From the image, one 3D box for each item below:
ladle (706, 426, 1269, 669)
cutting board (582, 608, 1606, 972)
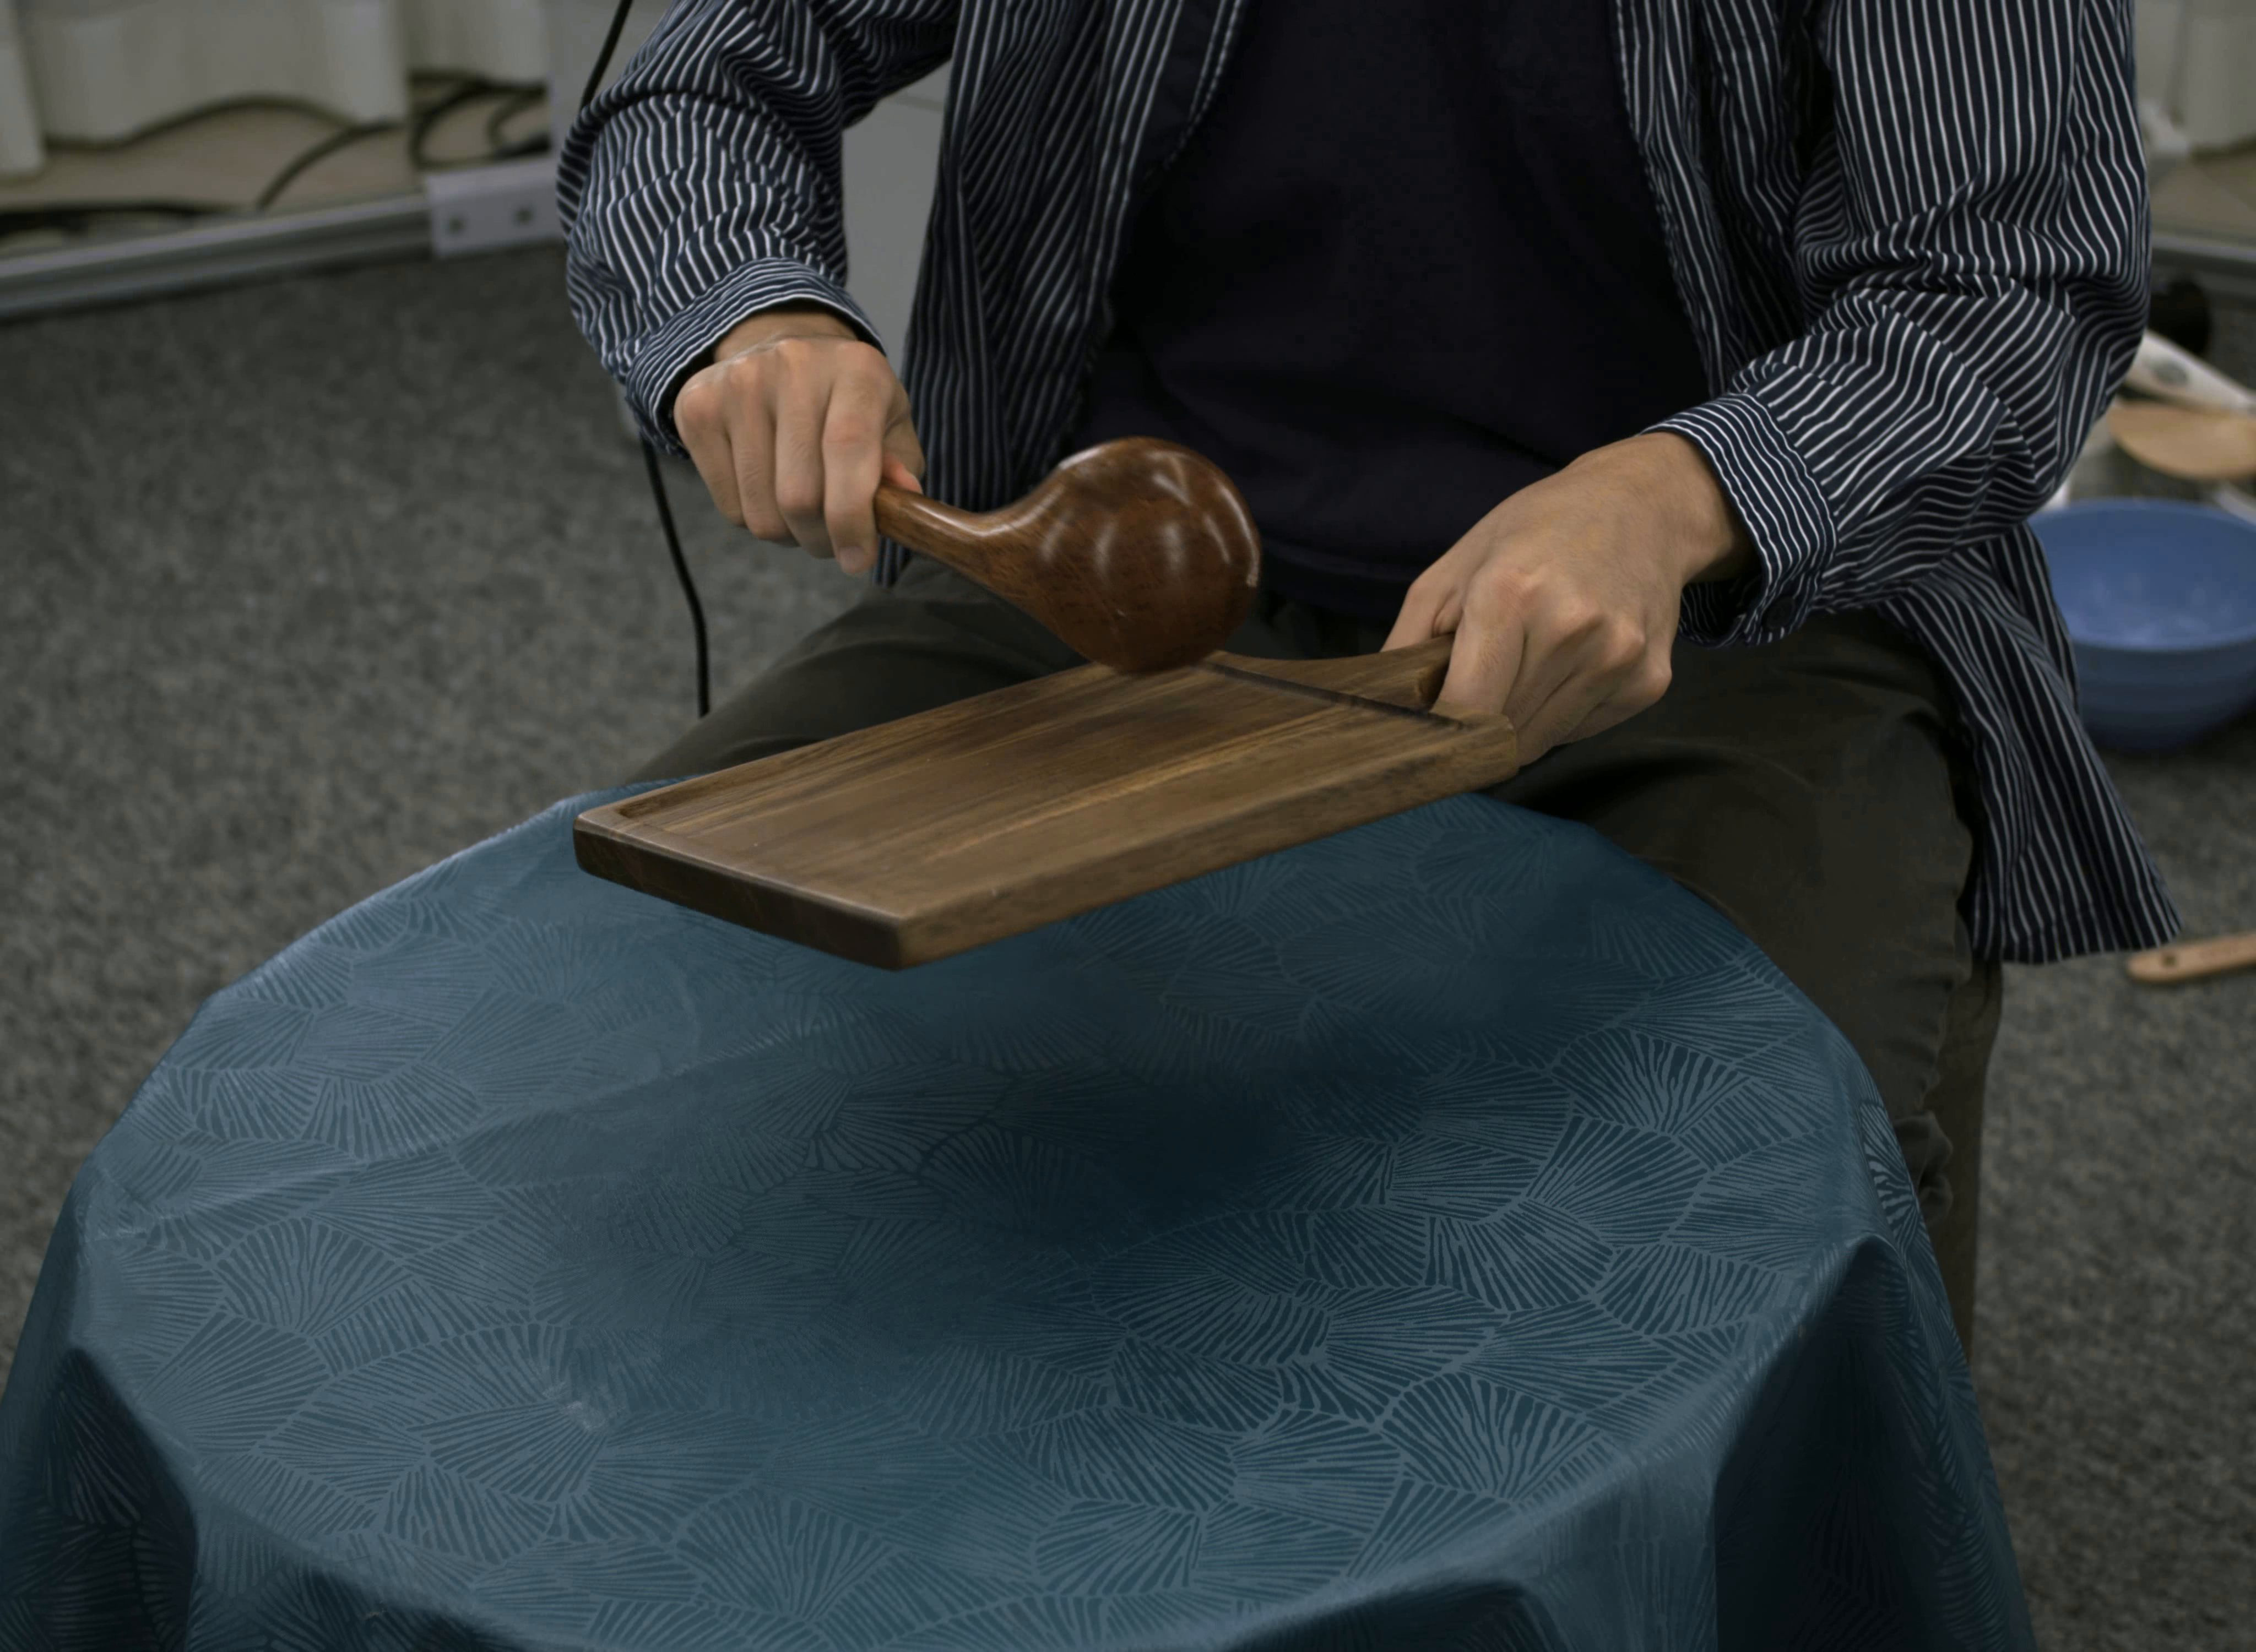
[{"bbox_3d":[-0.050,-0.113,1.962,0.077,0.081,0.273,-8,15,-31],"label":"ladle"},{"bbox_3d":[0.017,-0.021,1.837,0.355,0.023,0.200,-17,18,-32],"label":"cutting board"}]
